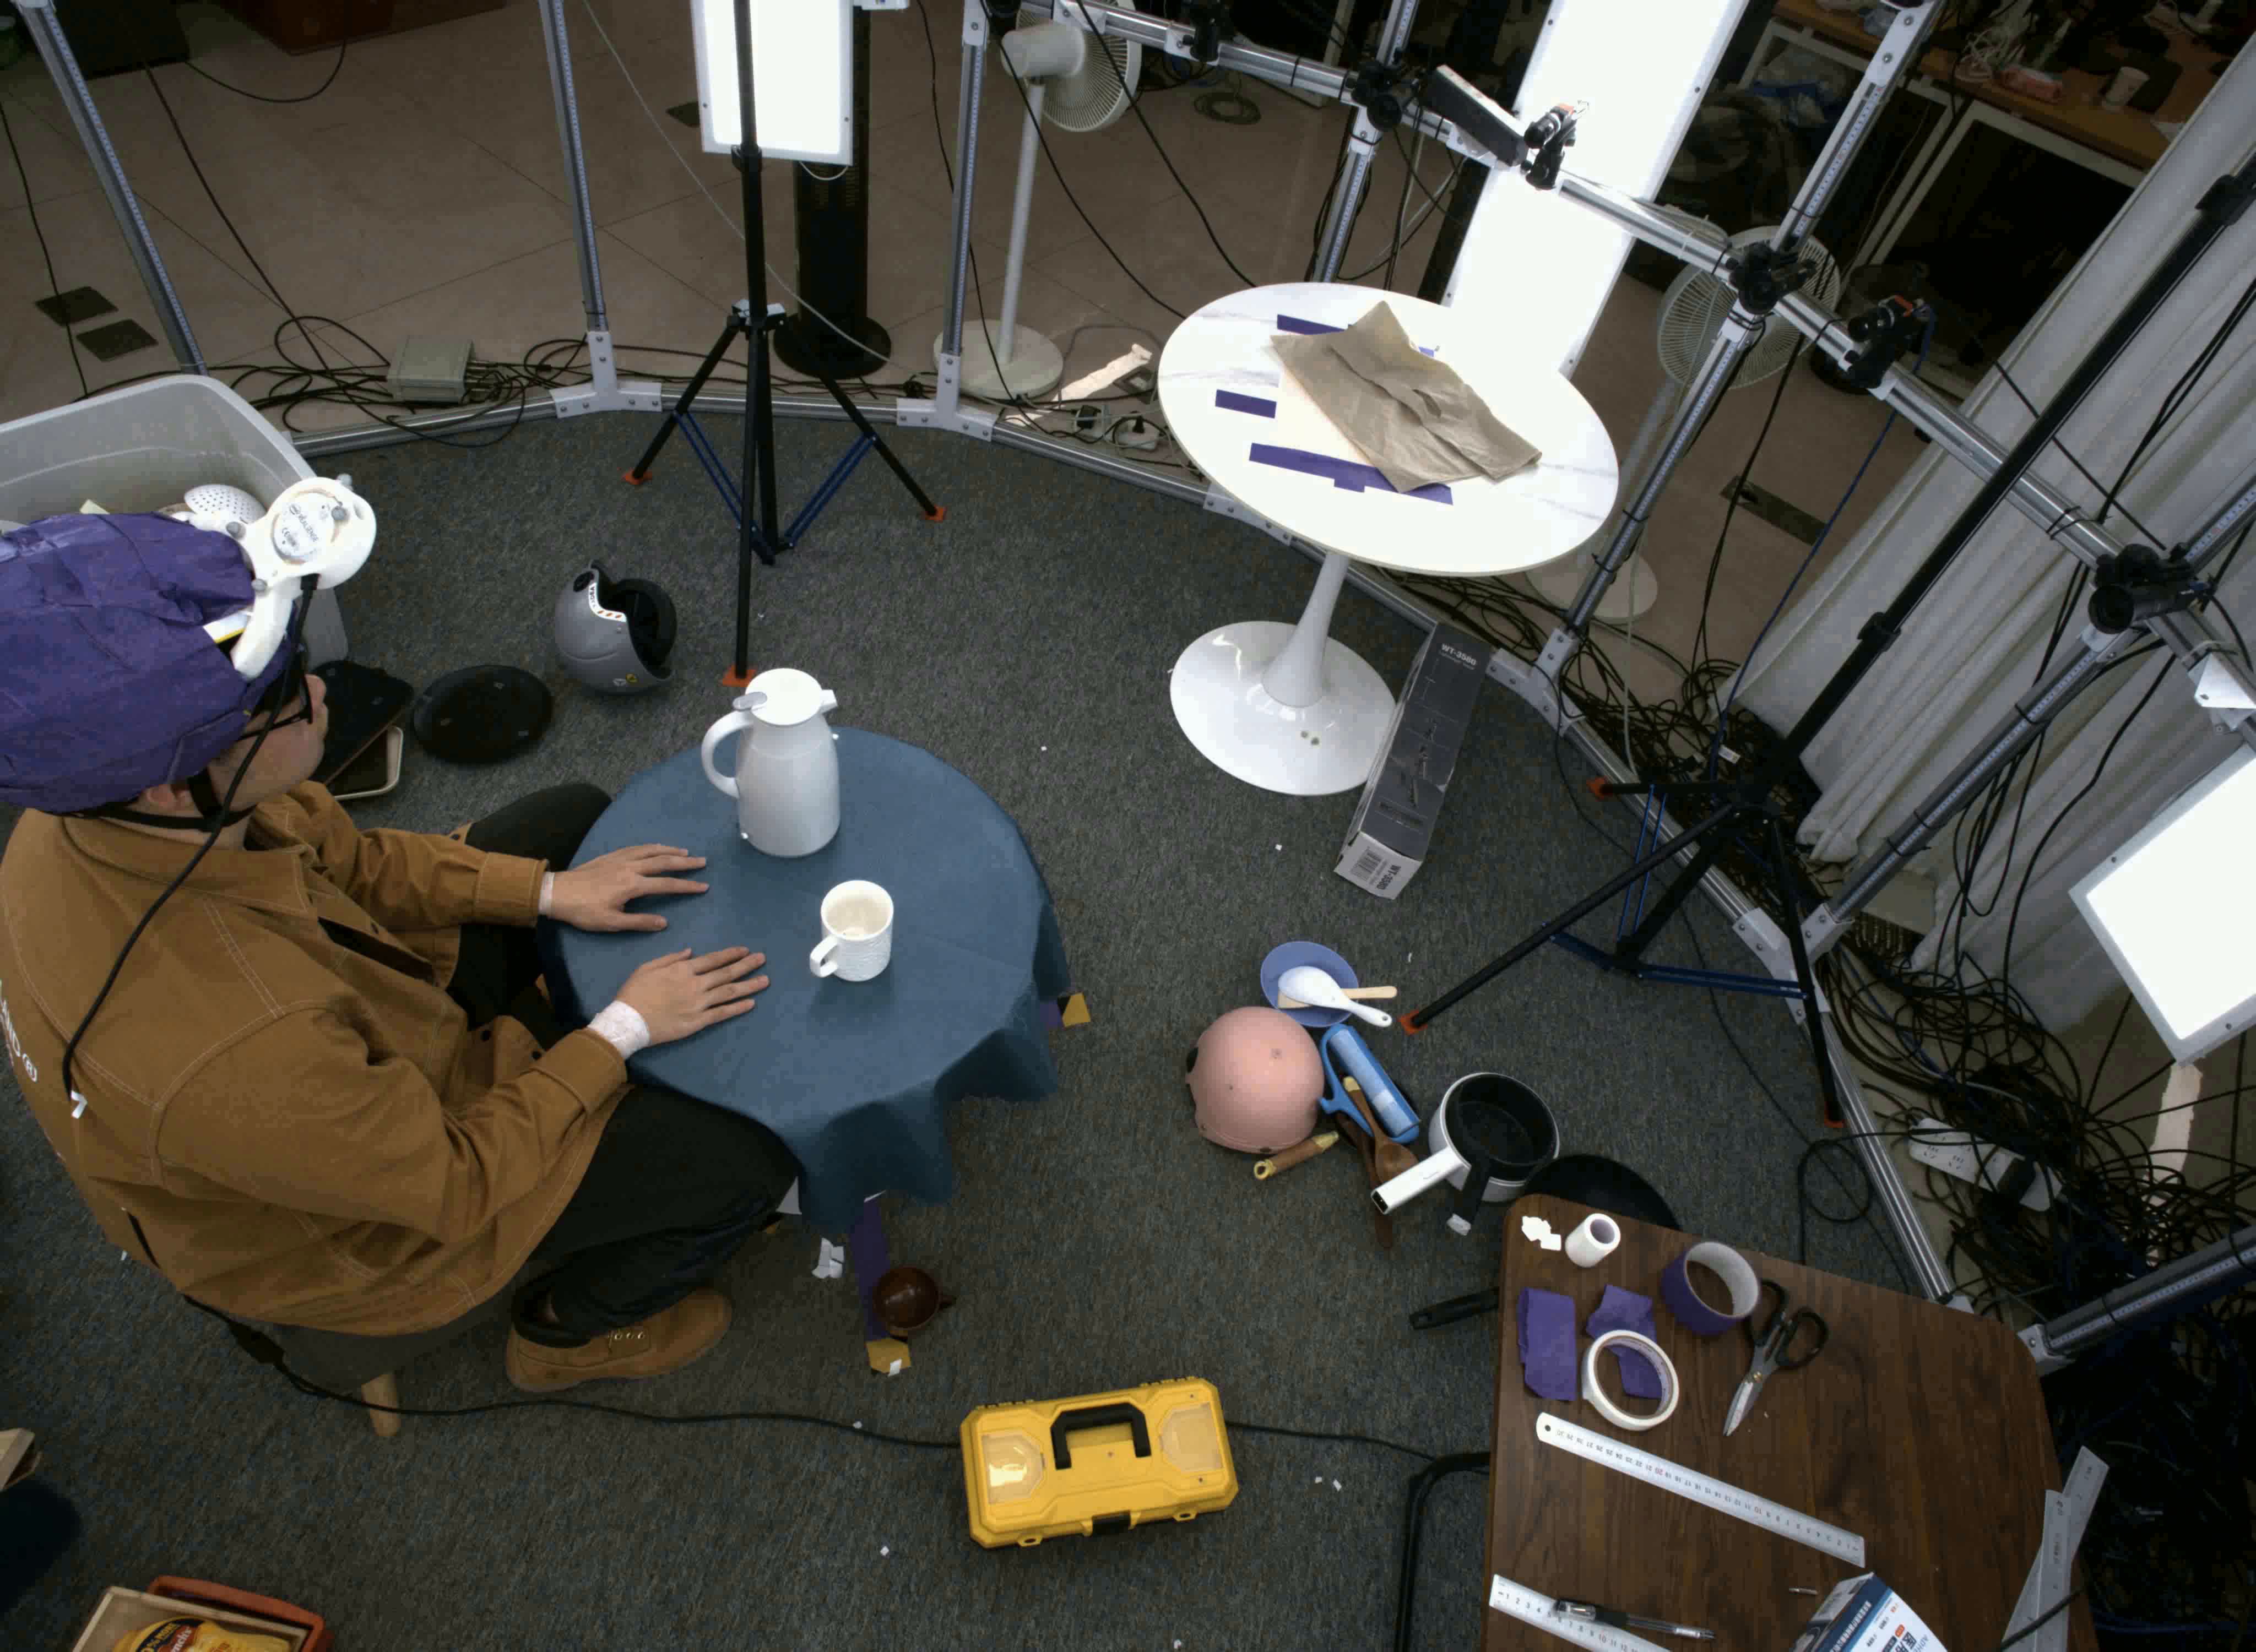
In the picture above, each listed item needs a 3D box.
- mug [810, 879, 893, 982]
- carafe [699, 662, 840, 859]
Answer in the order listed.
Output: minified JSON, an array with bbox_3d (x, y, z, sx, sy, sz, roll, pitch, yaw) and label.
[{"bbox_3d":[-0.339,0.137,1.574,0.083,0.104,0.118,33,53,13],"label":"mug"},{"bbox_3d":[-0.447,-0.083,1.616,0.168,0.254,0.129,-15,57,-22],"label":"carafe"}]
